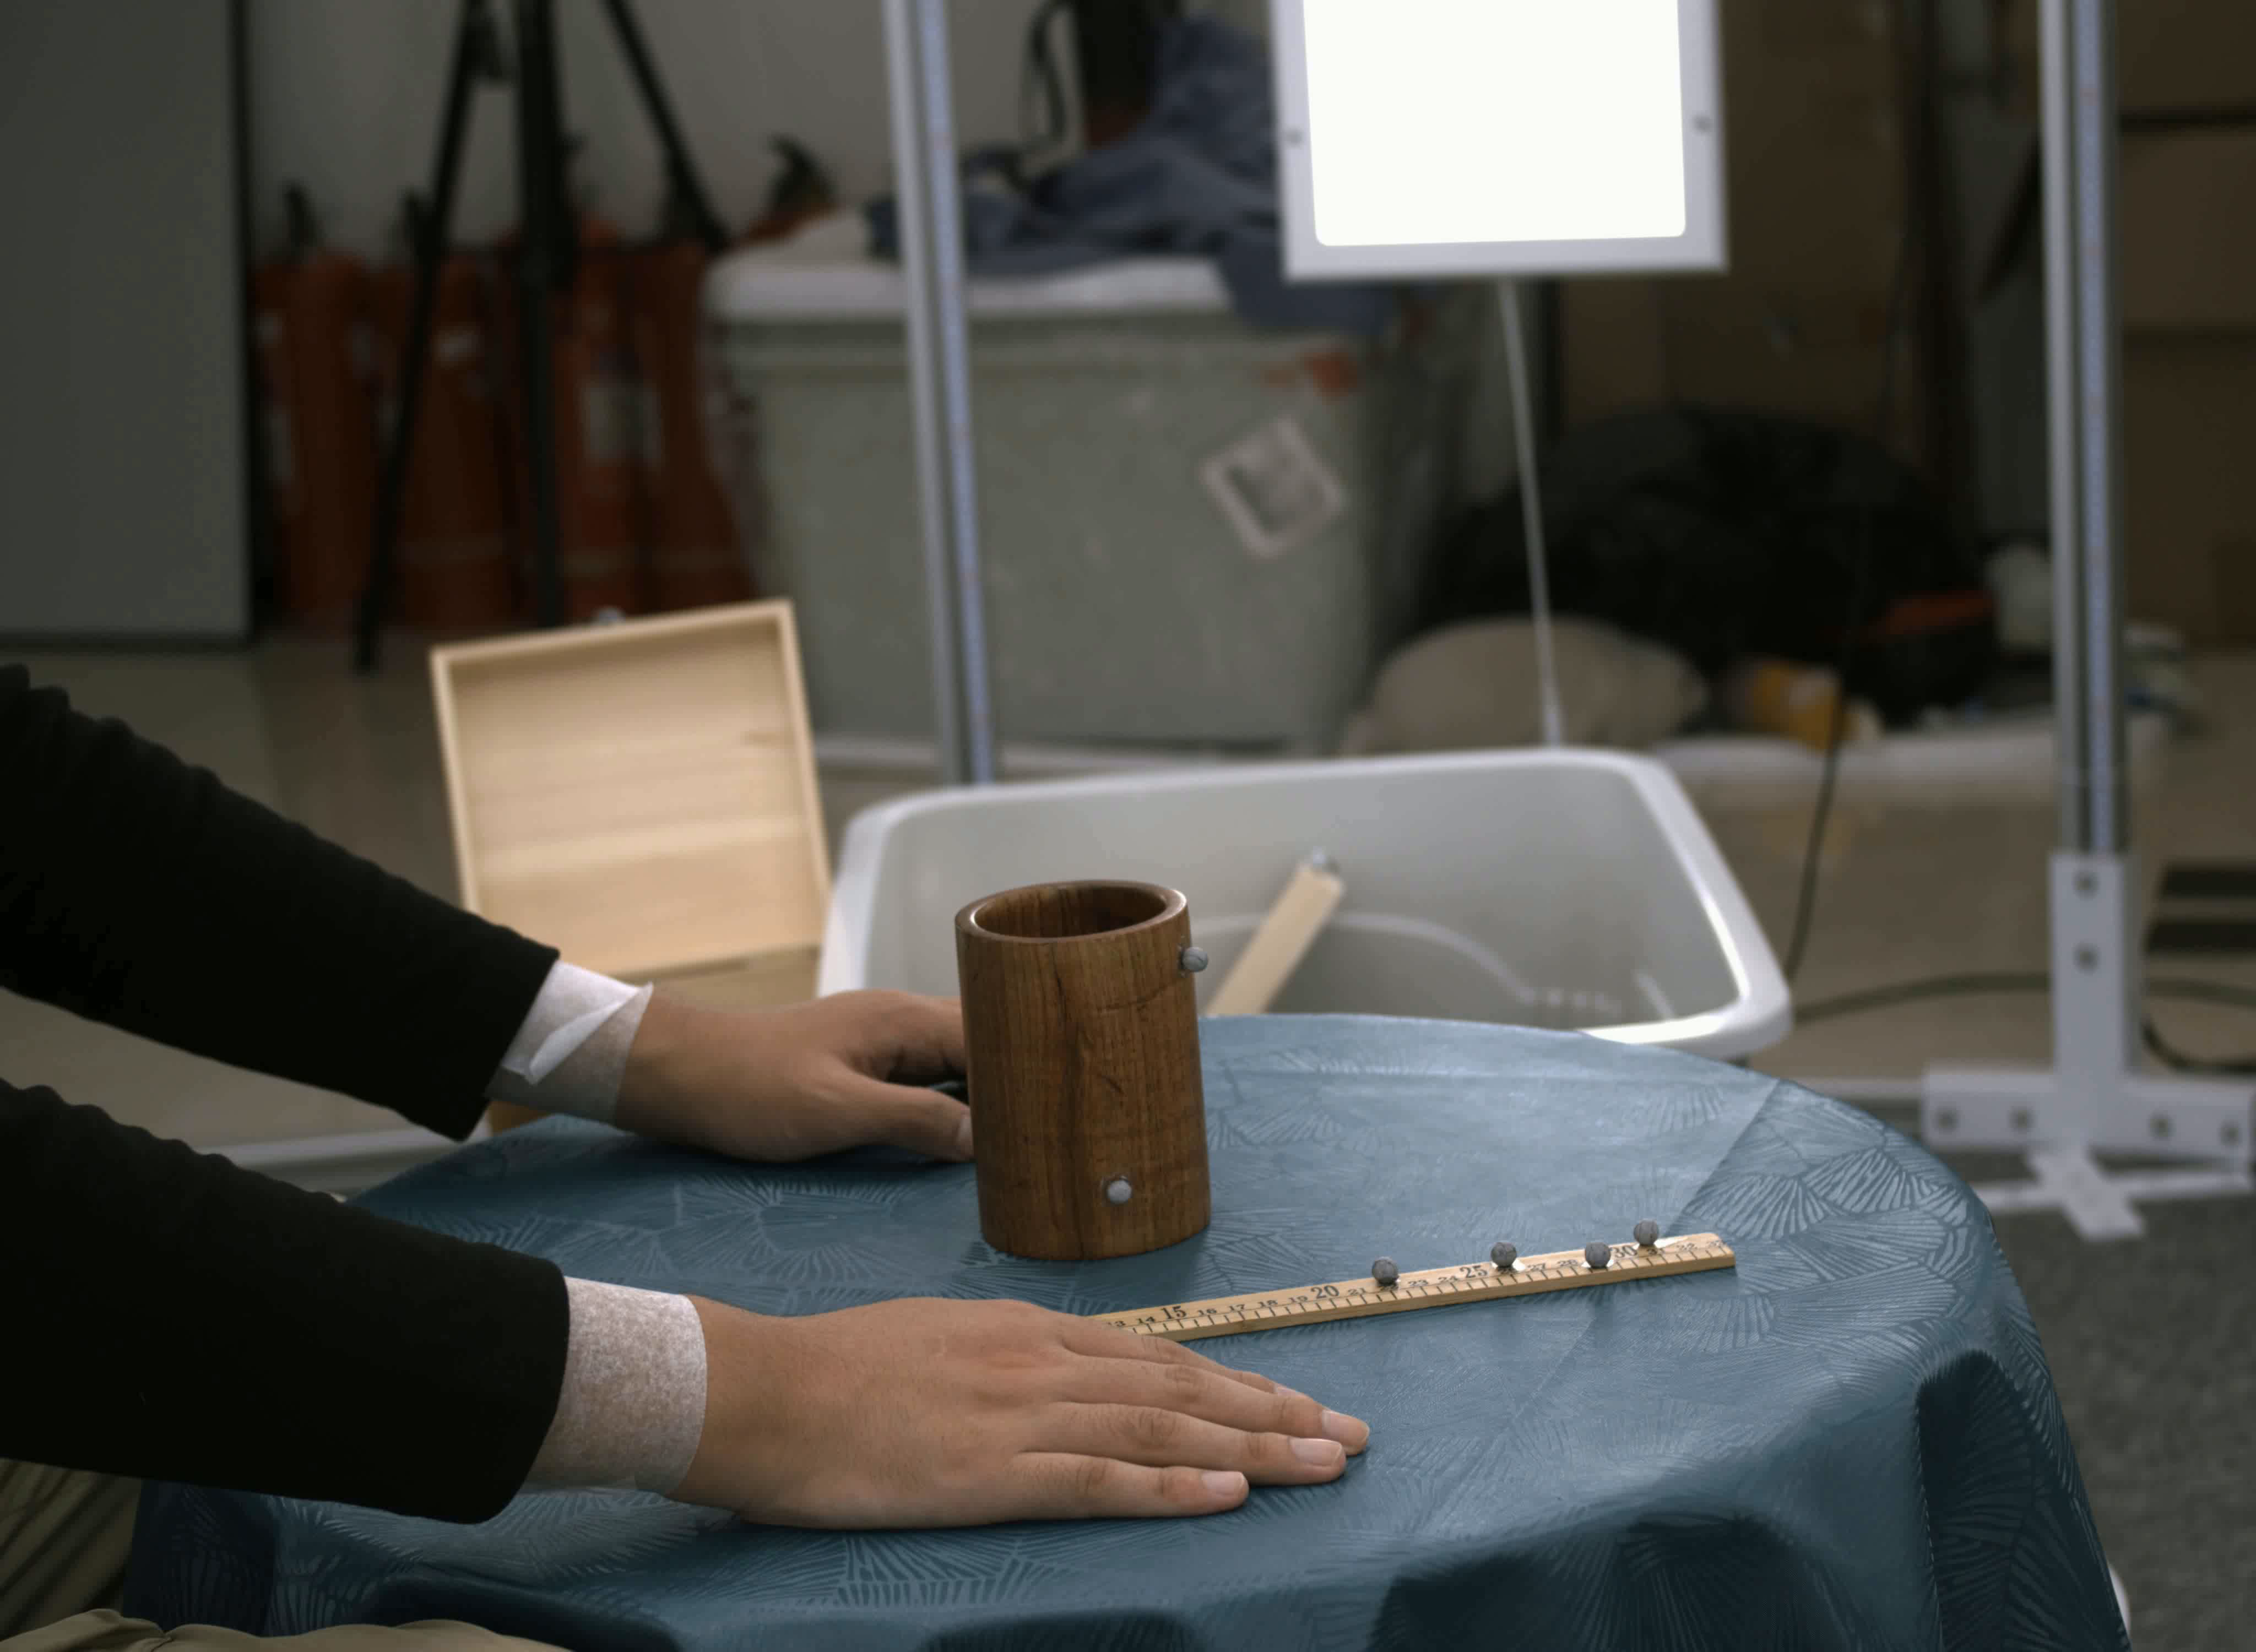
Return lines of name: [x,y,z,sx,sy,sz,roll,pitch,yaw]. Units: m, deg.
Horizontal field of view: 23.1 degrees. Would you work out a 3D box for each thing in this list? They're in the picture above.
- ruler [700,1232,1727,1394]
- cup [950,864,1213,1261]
ruler: [0.029,0.154,1.756,0.329,0.022,0.027,-6,10,-6]
cup: [-0.014,0.079,1.853,0.087,0.119,0.087,-5,13,0]
